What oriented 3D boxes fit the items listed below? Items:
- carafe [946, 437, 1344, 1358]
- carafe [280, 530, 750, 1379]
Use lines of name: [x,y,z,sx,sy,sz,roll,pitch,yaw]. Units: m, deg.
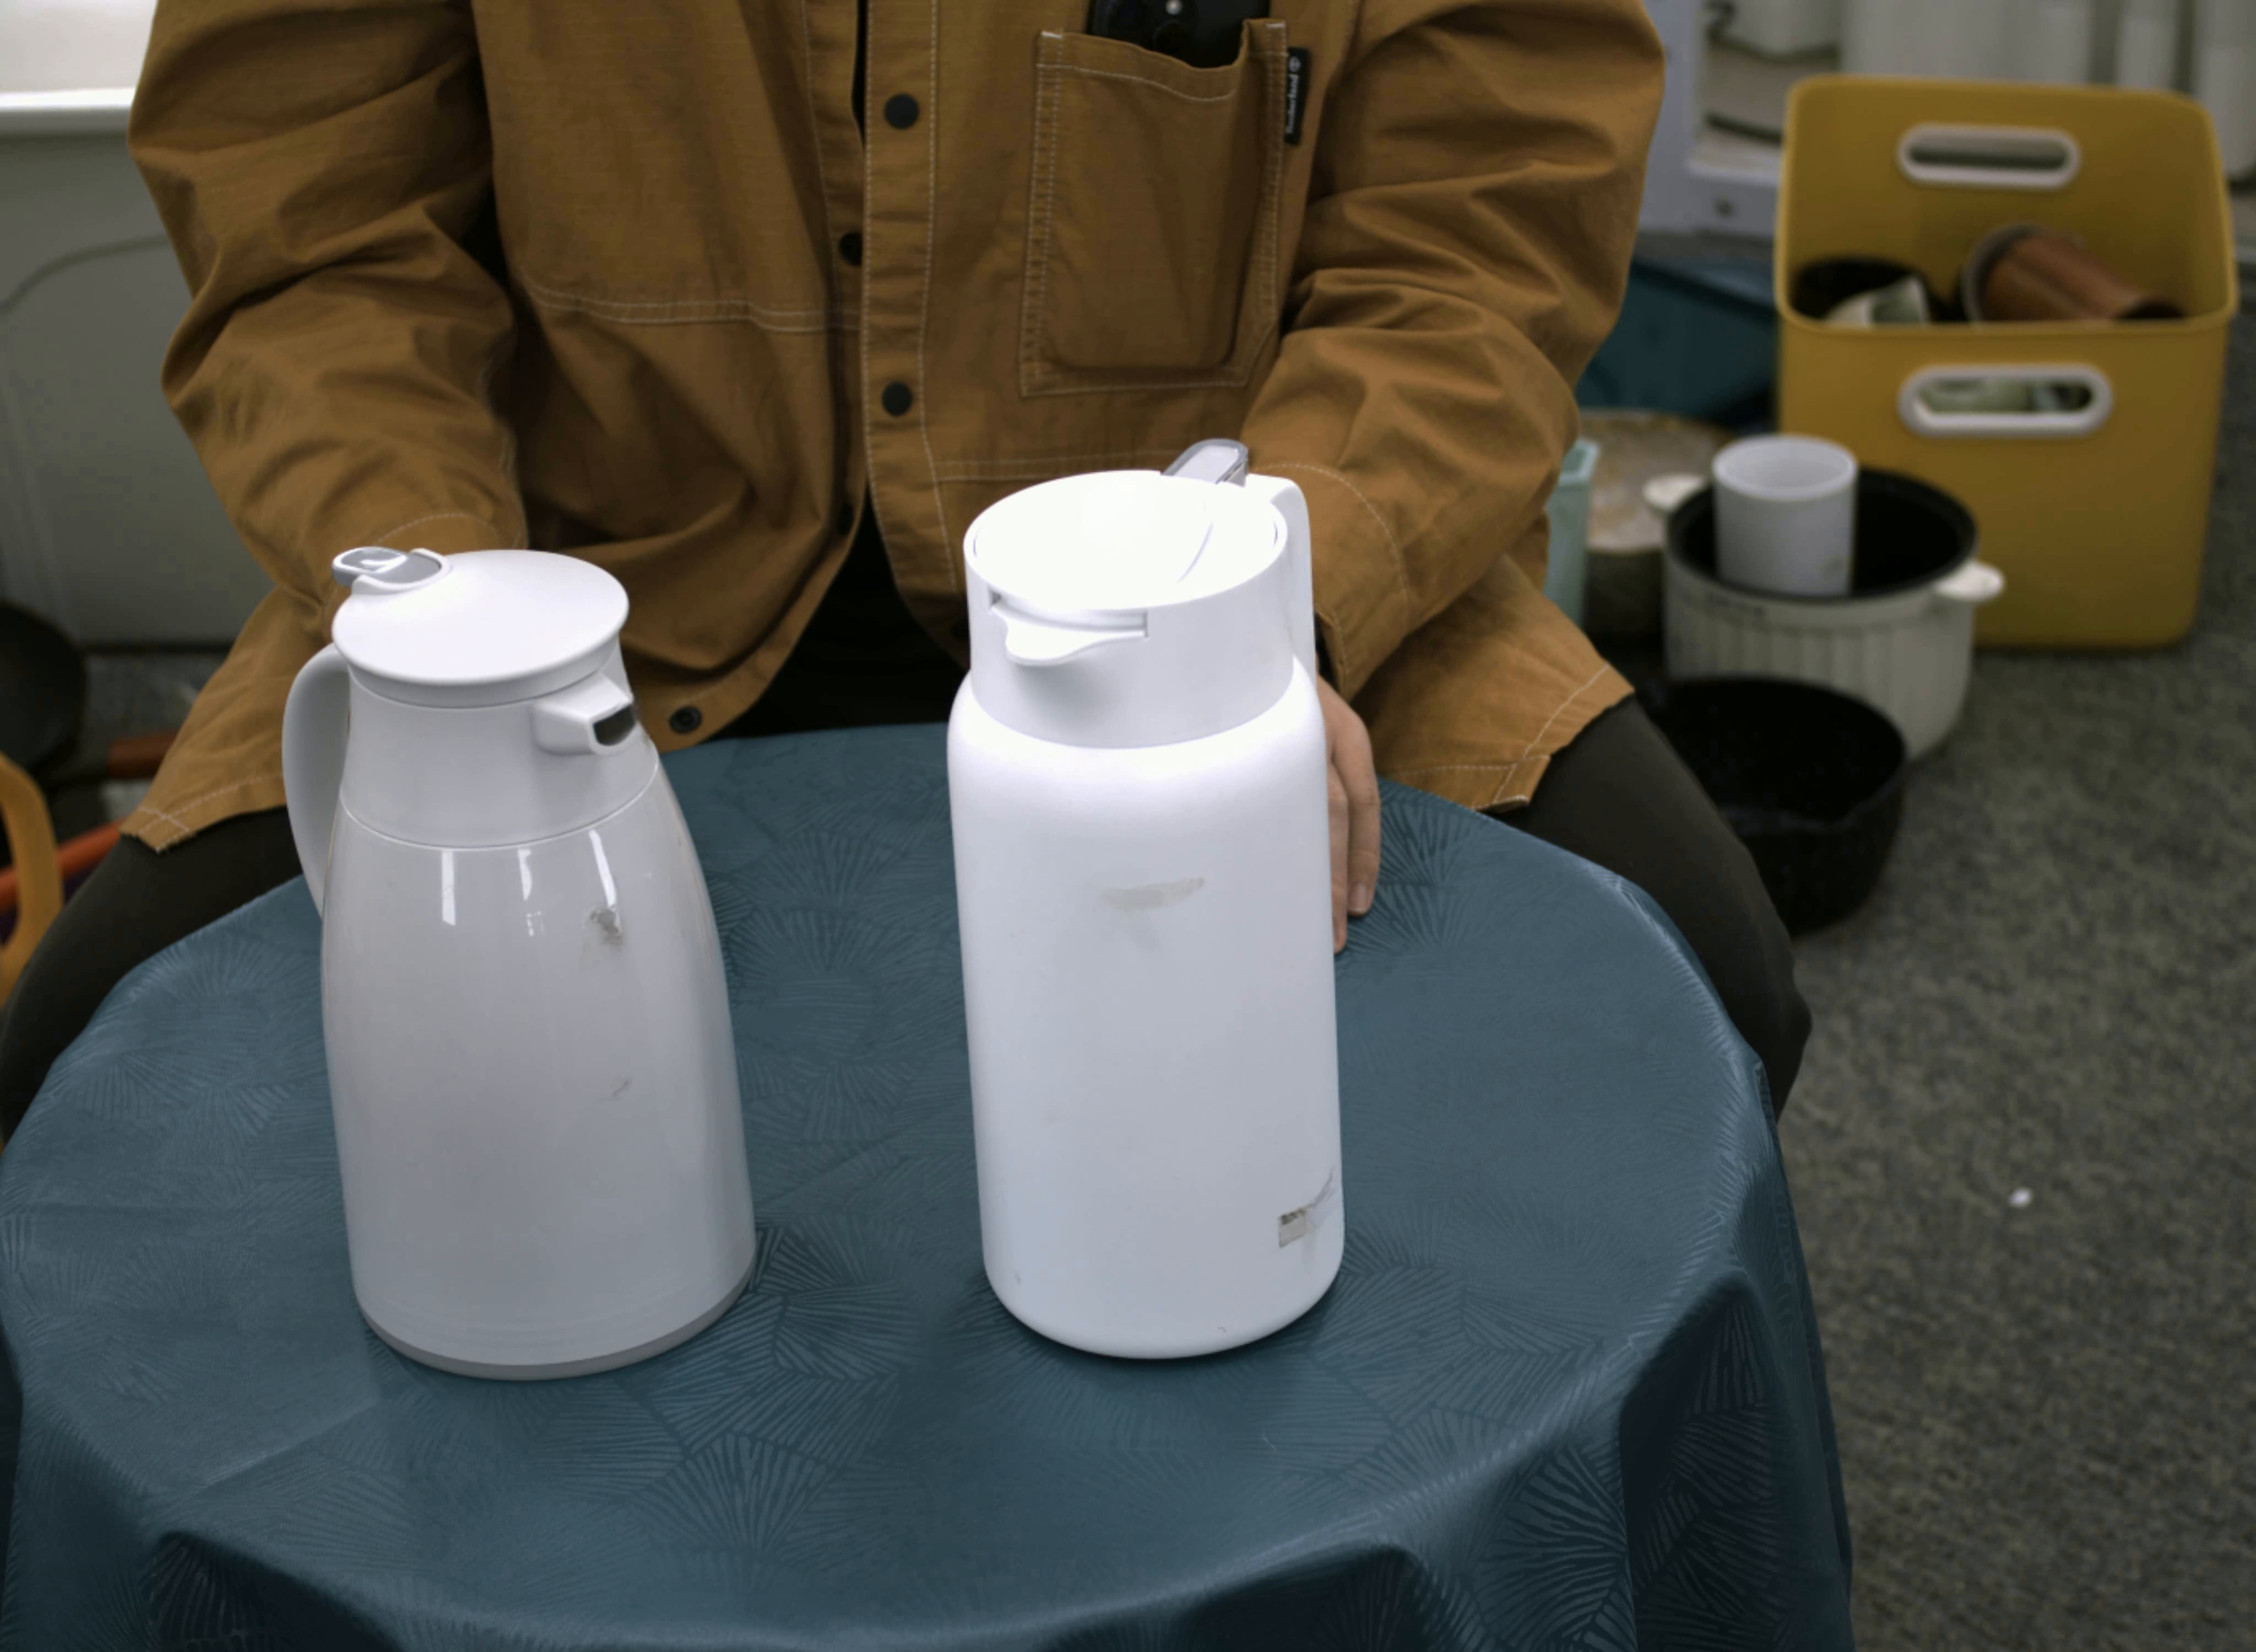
carafe: [0.011,0.018,1.770,0.123,0.266,0.176,7,28,24]
carafe: [-0.208,0.031,1.788,0.167,0.246,0.134,20,34,40]
